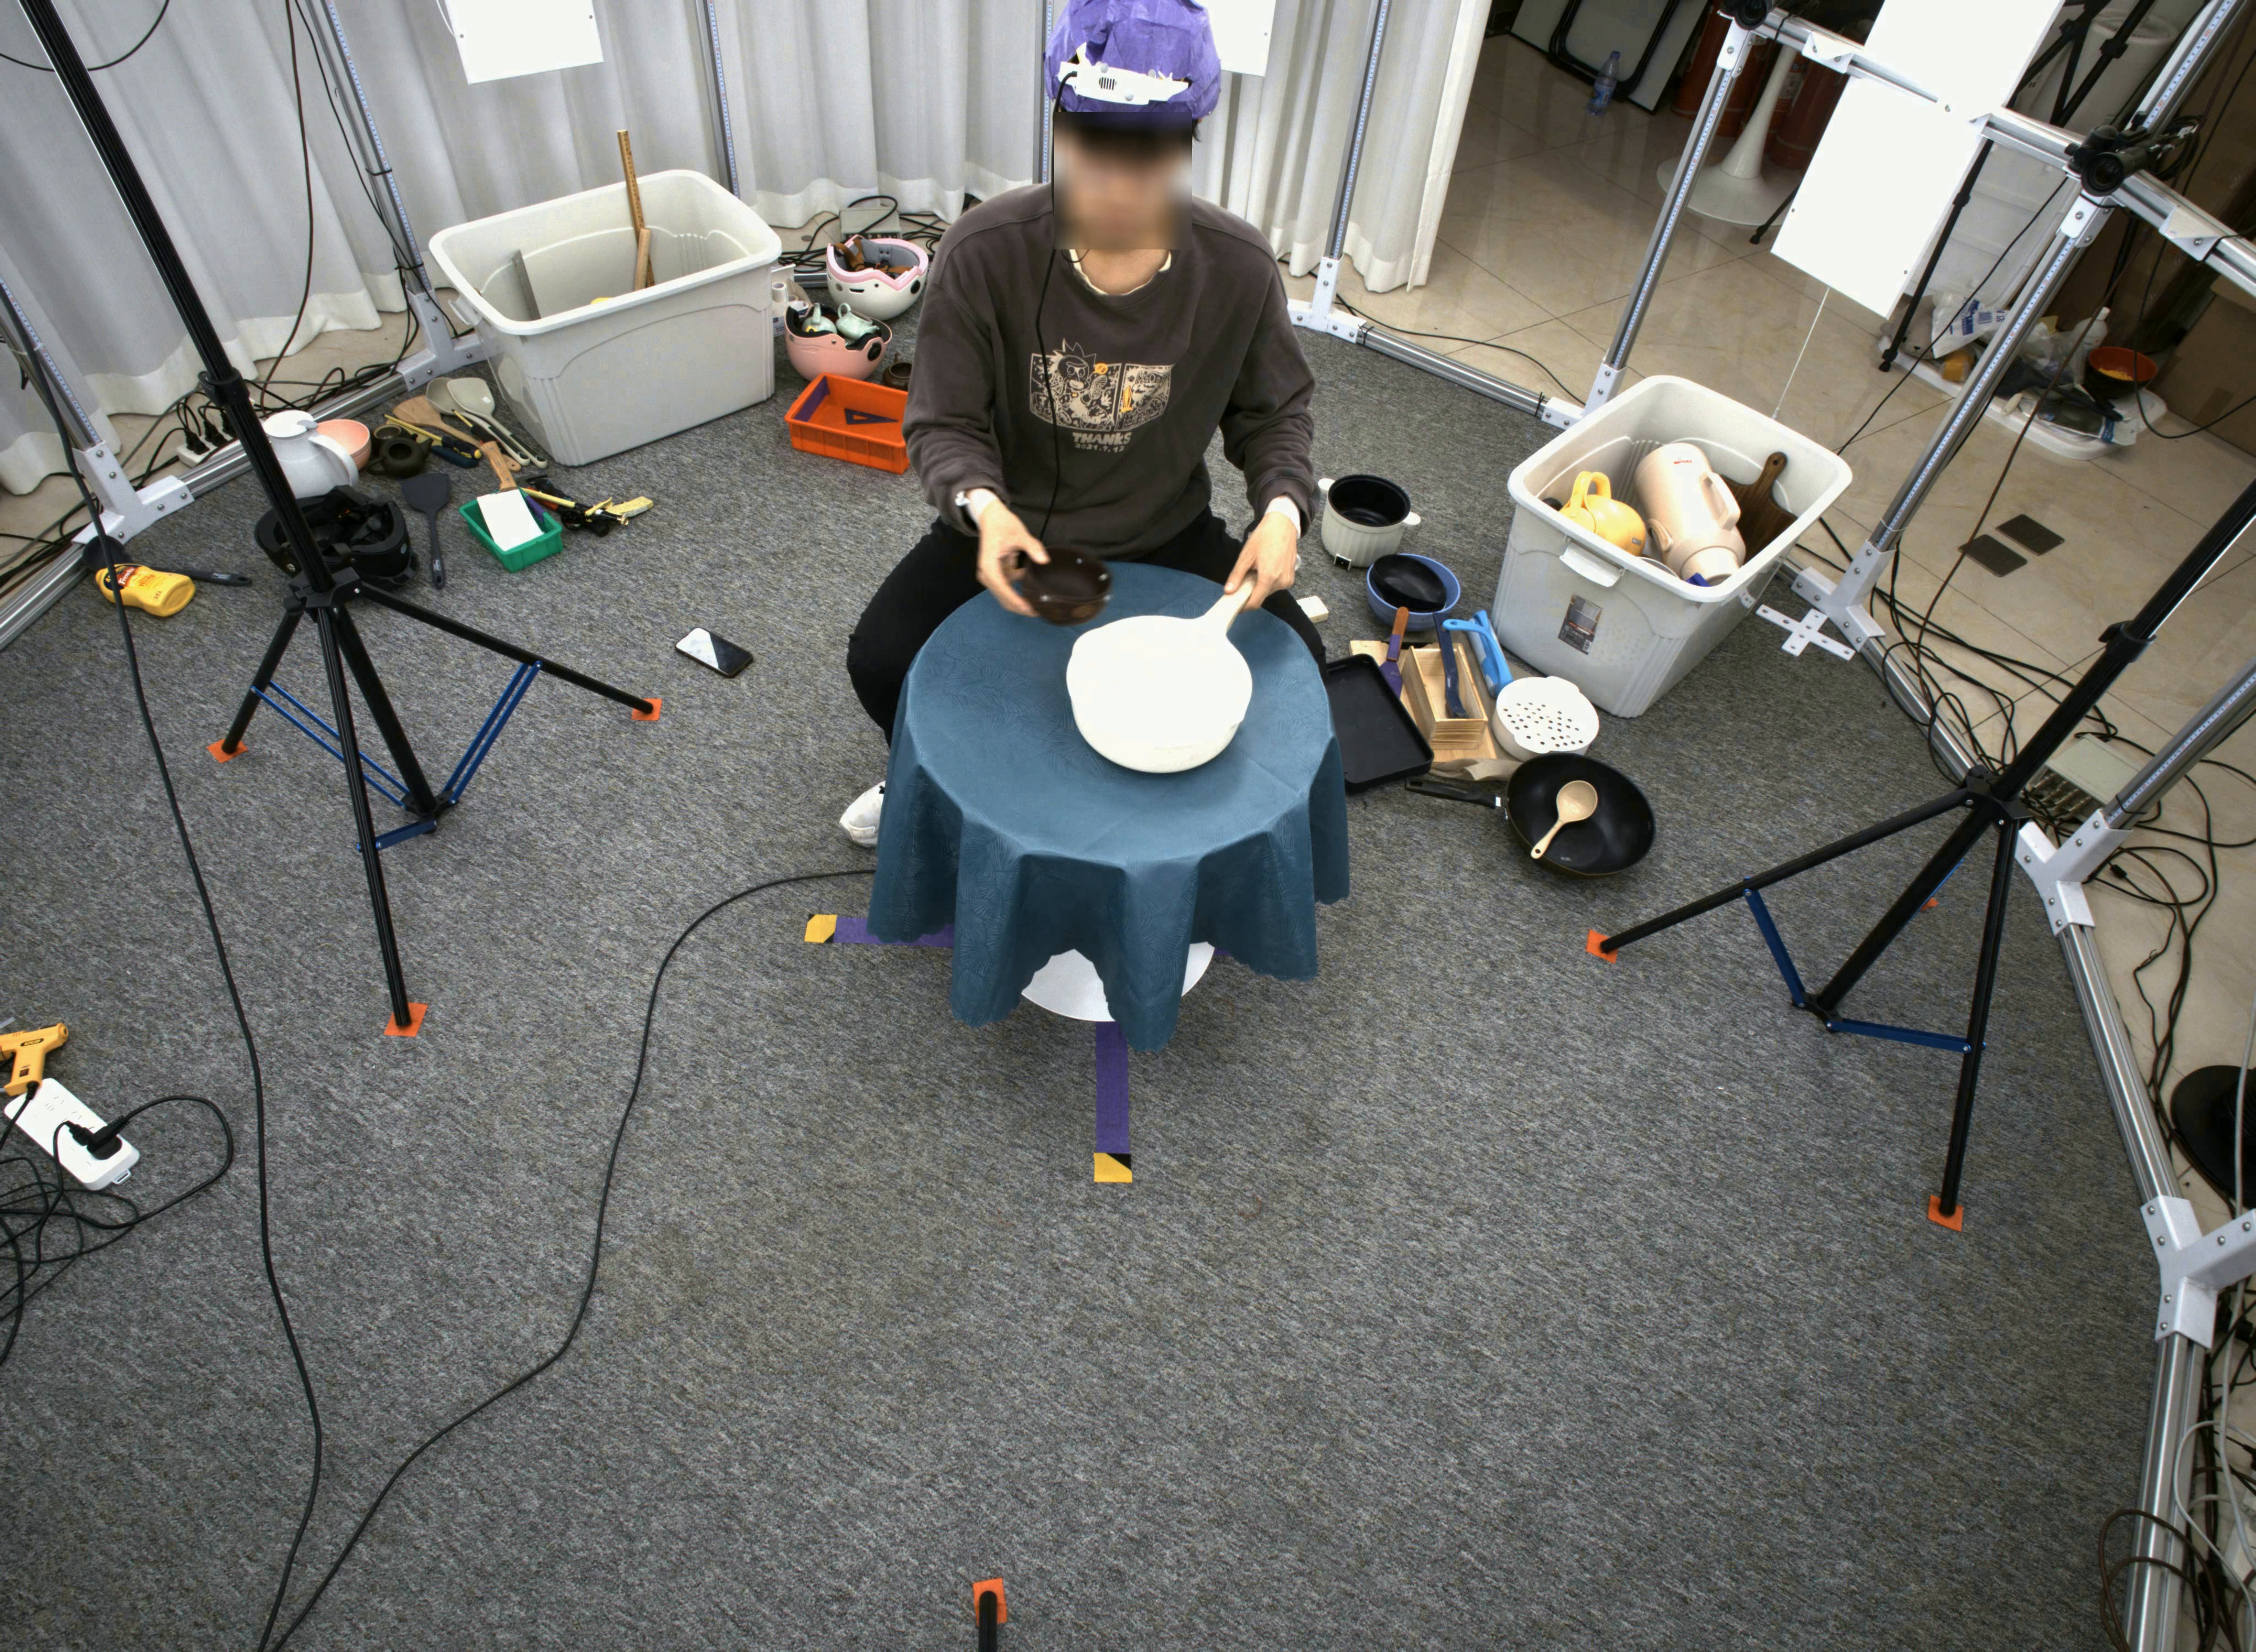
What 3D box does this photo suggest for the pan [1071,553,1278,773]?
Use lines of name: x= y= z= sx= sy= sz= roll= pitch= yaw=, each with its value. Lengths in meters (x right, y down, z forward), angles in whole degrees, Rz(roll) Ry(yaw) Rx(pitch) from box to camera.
pan: x=0.096 y=-0.235 z=1.813 sx=0.266 sy=0.099 sz=0.441 roll=27 pitch=52 yaw=21

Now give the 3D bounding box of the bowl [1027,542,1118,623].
bowl: x=-0.075 y=-0.310 z=1.681 sx=0.118 sy=0.068 sz=0.121 roll=7 pitch=43 yaw=-7
